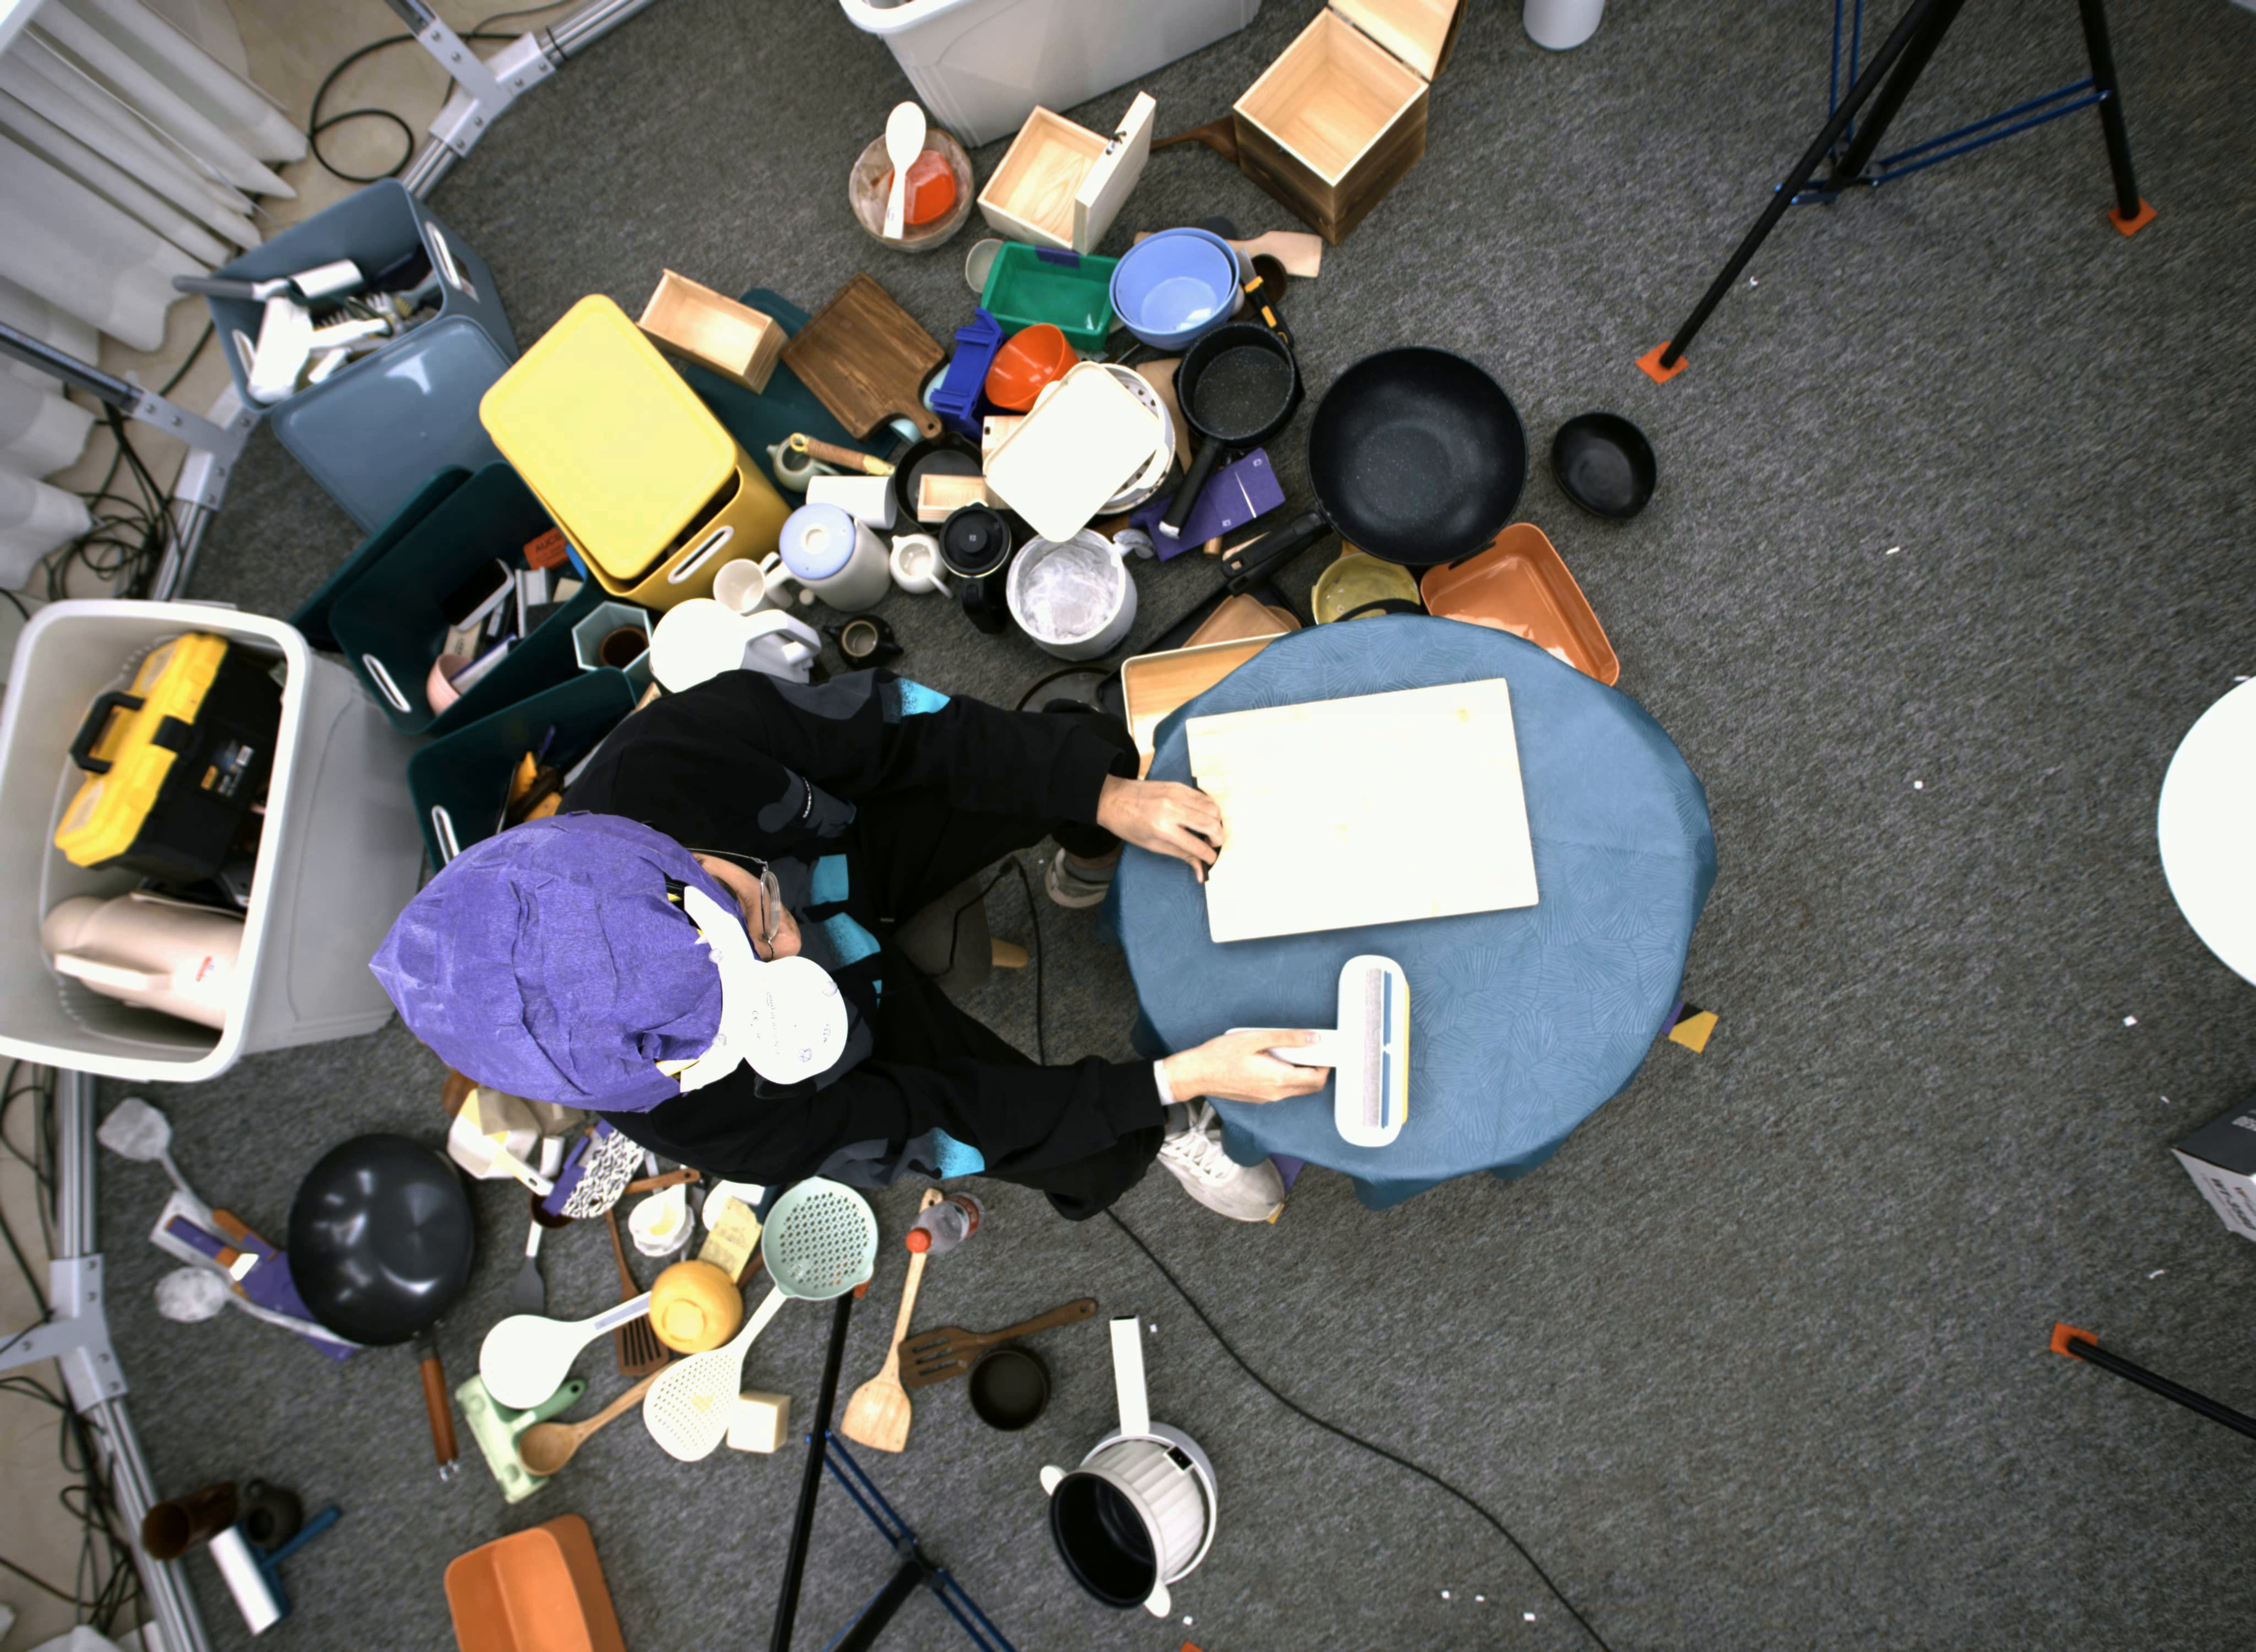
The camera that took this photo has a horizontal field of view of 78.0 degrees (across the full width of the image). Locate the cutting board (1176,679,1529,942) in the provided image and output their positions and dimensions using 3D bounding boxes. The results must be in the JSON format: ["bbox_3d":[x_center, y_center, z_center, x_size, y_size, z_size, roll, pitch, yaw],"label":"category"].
[{"bbox_3d":[0.236,-0.017,1.445,0.350,0.023,0.249,-8,86,5],"label":"cutting board"}]

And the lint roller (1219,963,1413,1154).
[{"bbox_3d":[0.189,0.229,1.422,0.193,0.074,0.191,7,82,5],"label":"lint roller"}]
